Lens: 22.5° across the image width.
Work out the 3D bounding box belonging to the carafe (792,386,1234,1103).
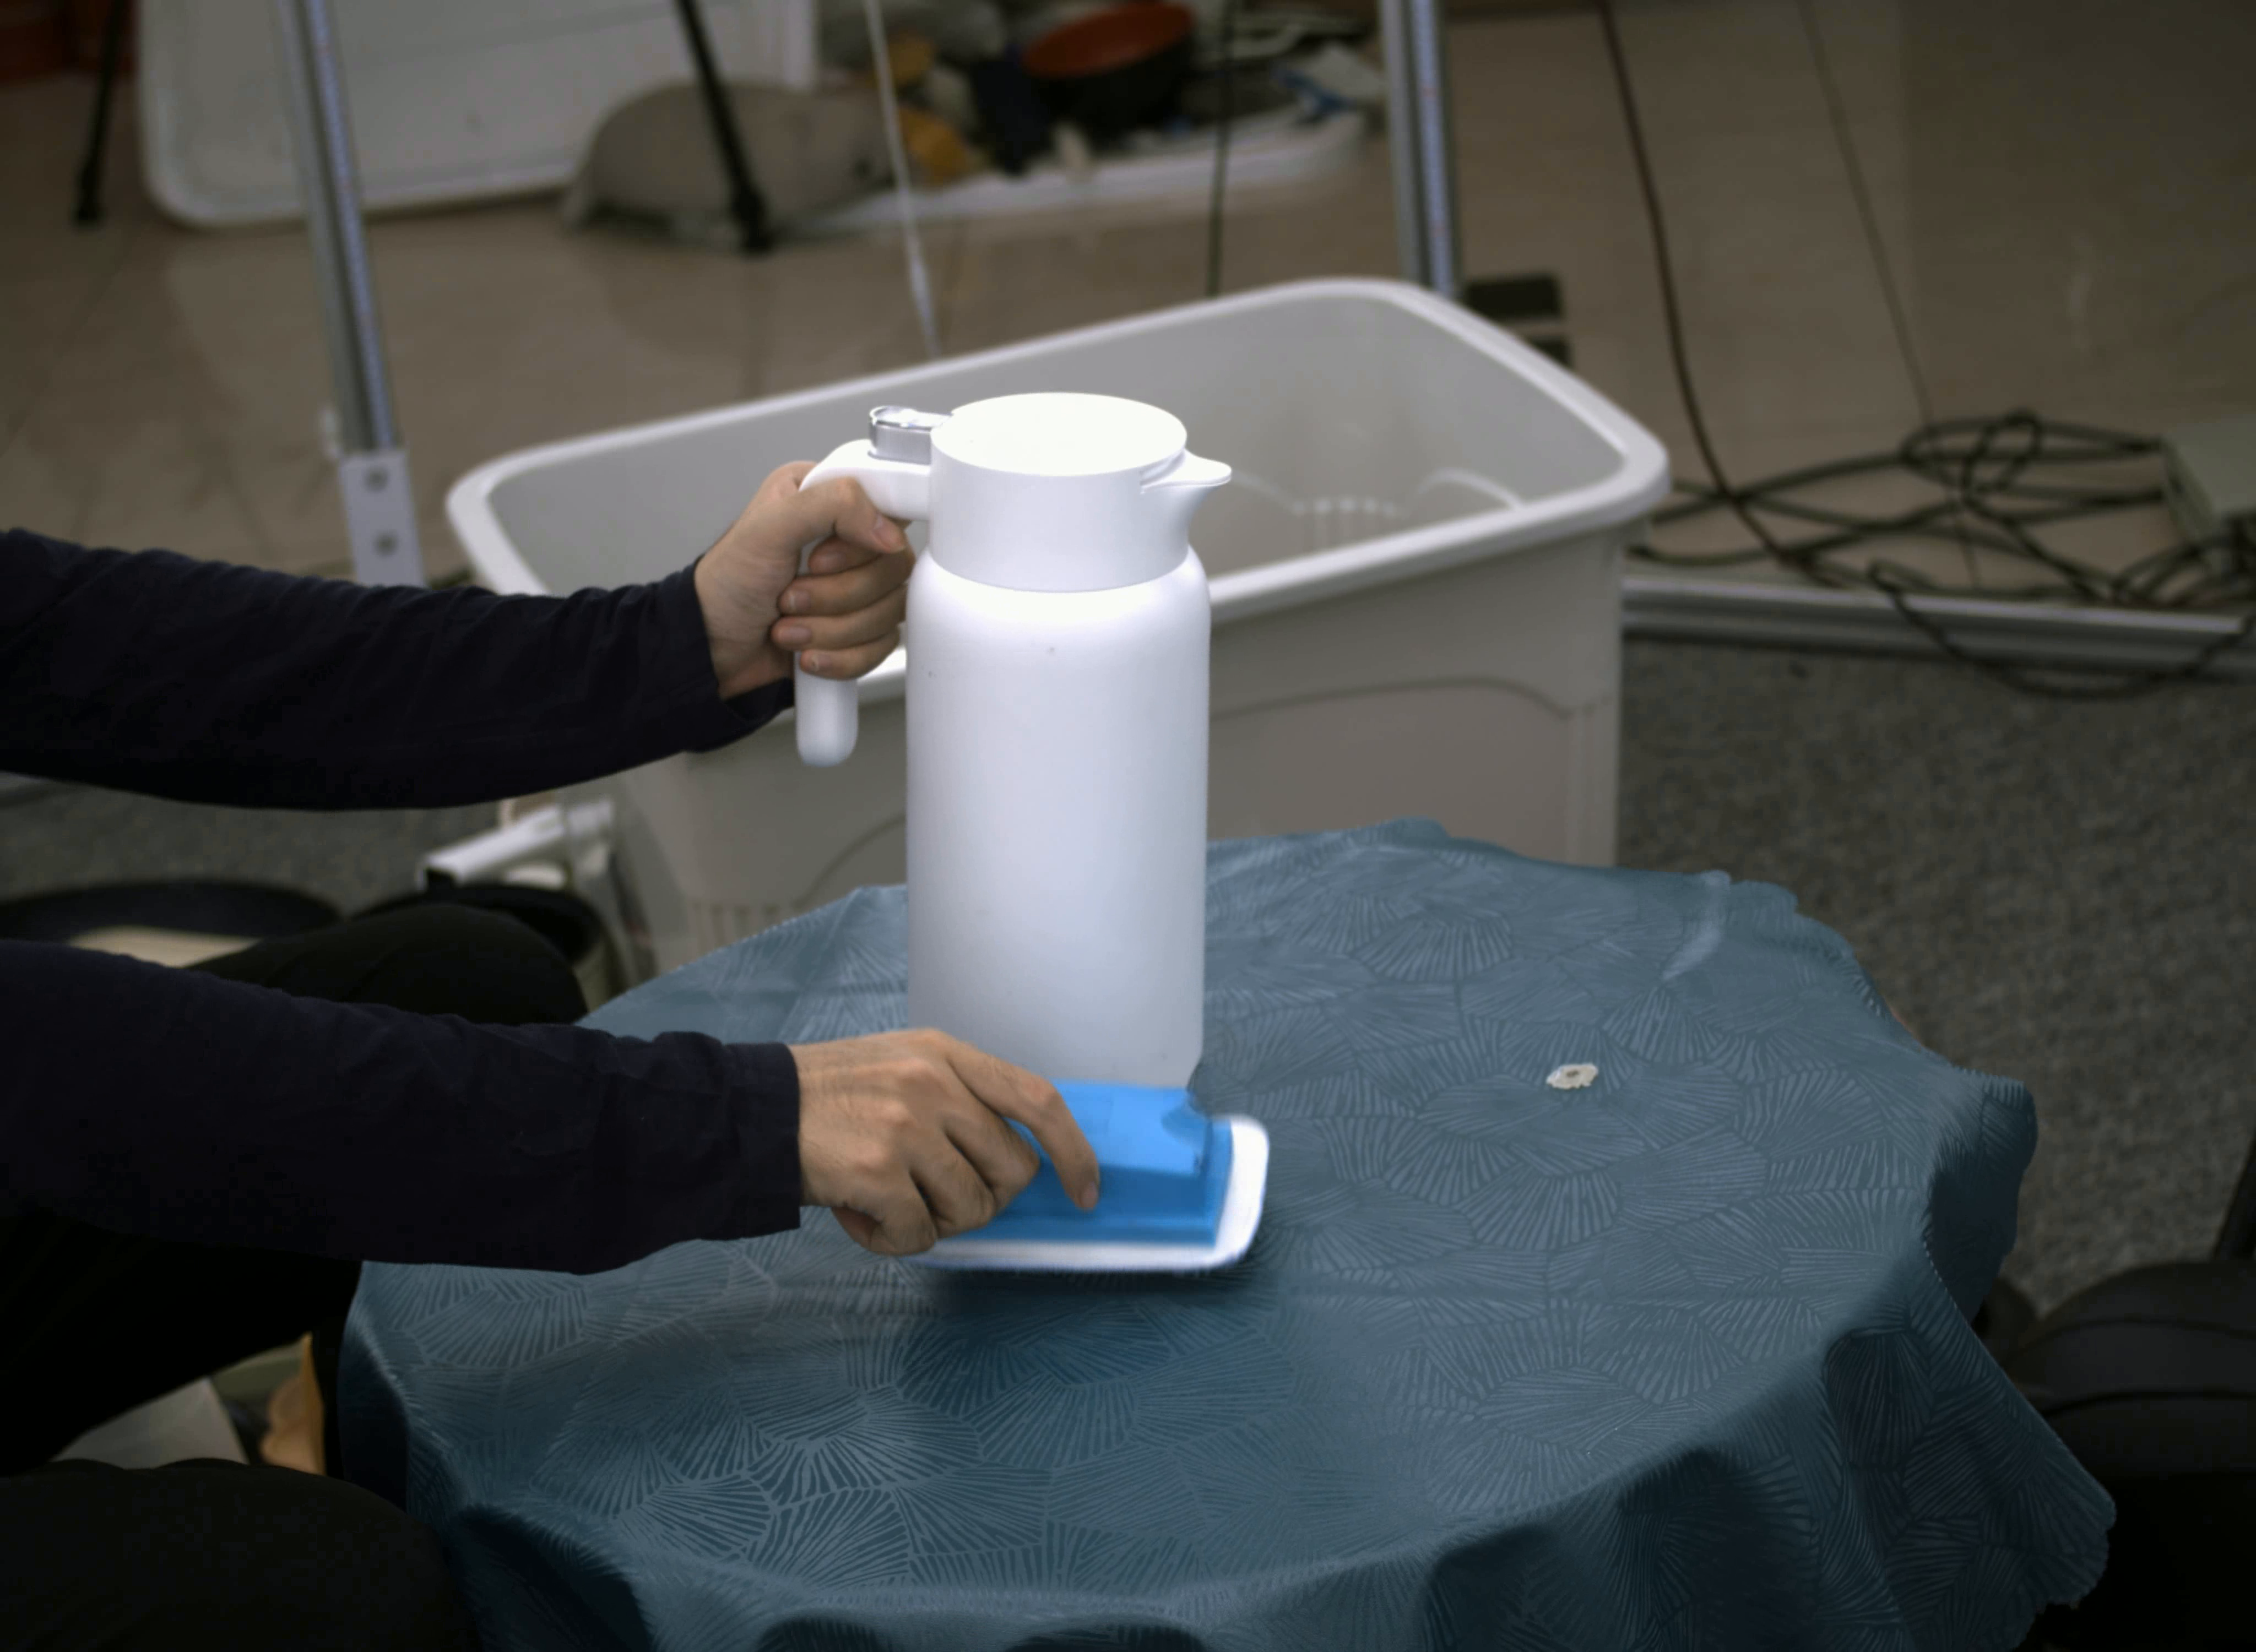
[{"bbox_3d":[-0.043,-0.028,2.183,0.172,0.273,0.122,6,26,14],"label":"carafe"}]

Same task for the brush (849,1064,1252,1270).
[{"bbox_3d":[-0.028,0.123,2.084,0.143,0.057,0.082,5,36,9],"label":"brush"}]
